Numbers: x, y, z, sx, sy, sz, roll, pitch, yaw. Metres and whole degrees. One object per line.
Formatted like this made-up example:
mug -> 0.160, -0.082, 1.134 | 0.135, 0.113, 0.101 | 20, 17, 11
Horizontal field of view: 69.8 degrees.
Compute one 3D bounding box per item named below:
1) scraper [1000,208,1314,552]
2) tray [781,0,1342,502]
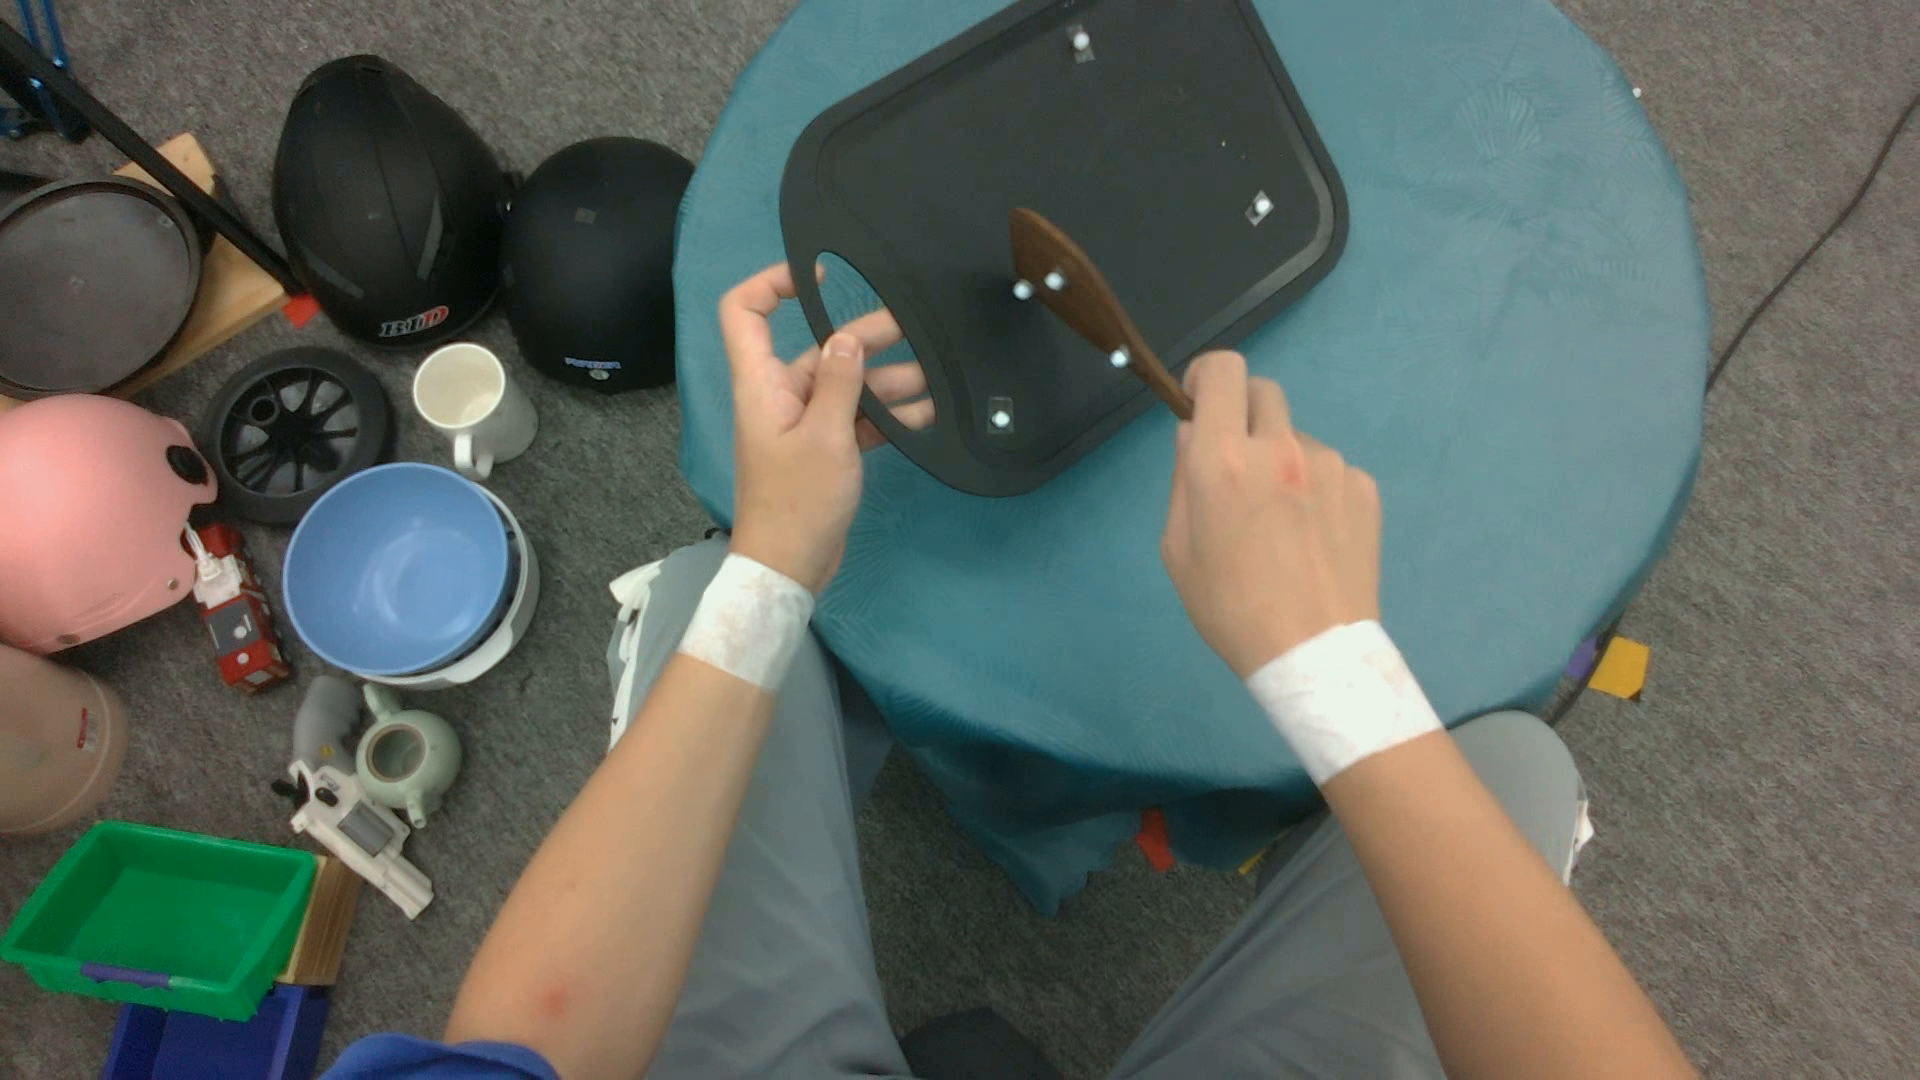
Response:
scraper -> 0.090, -0.073, 0.643 | 0.011, 0.075, 0.211 | -38, 73, -9
tray -> 0.063, -0.167, 0.724 | 0.326, 0.010, 0.211 | -36, 102, -22
